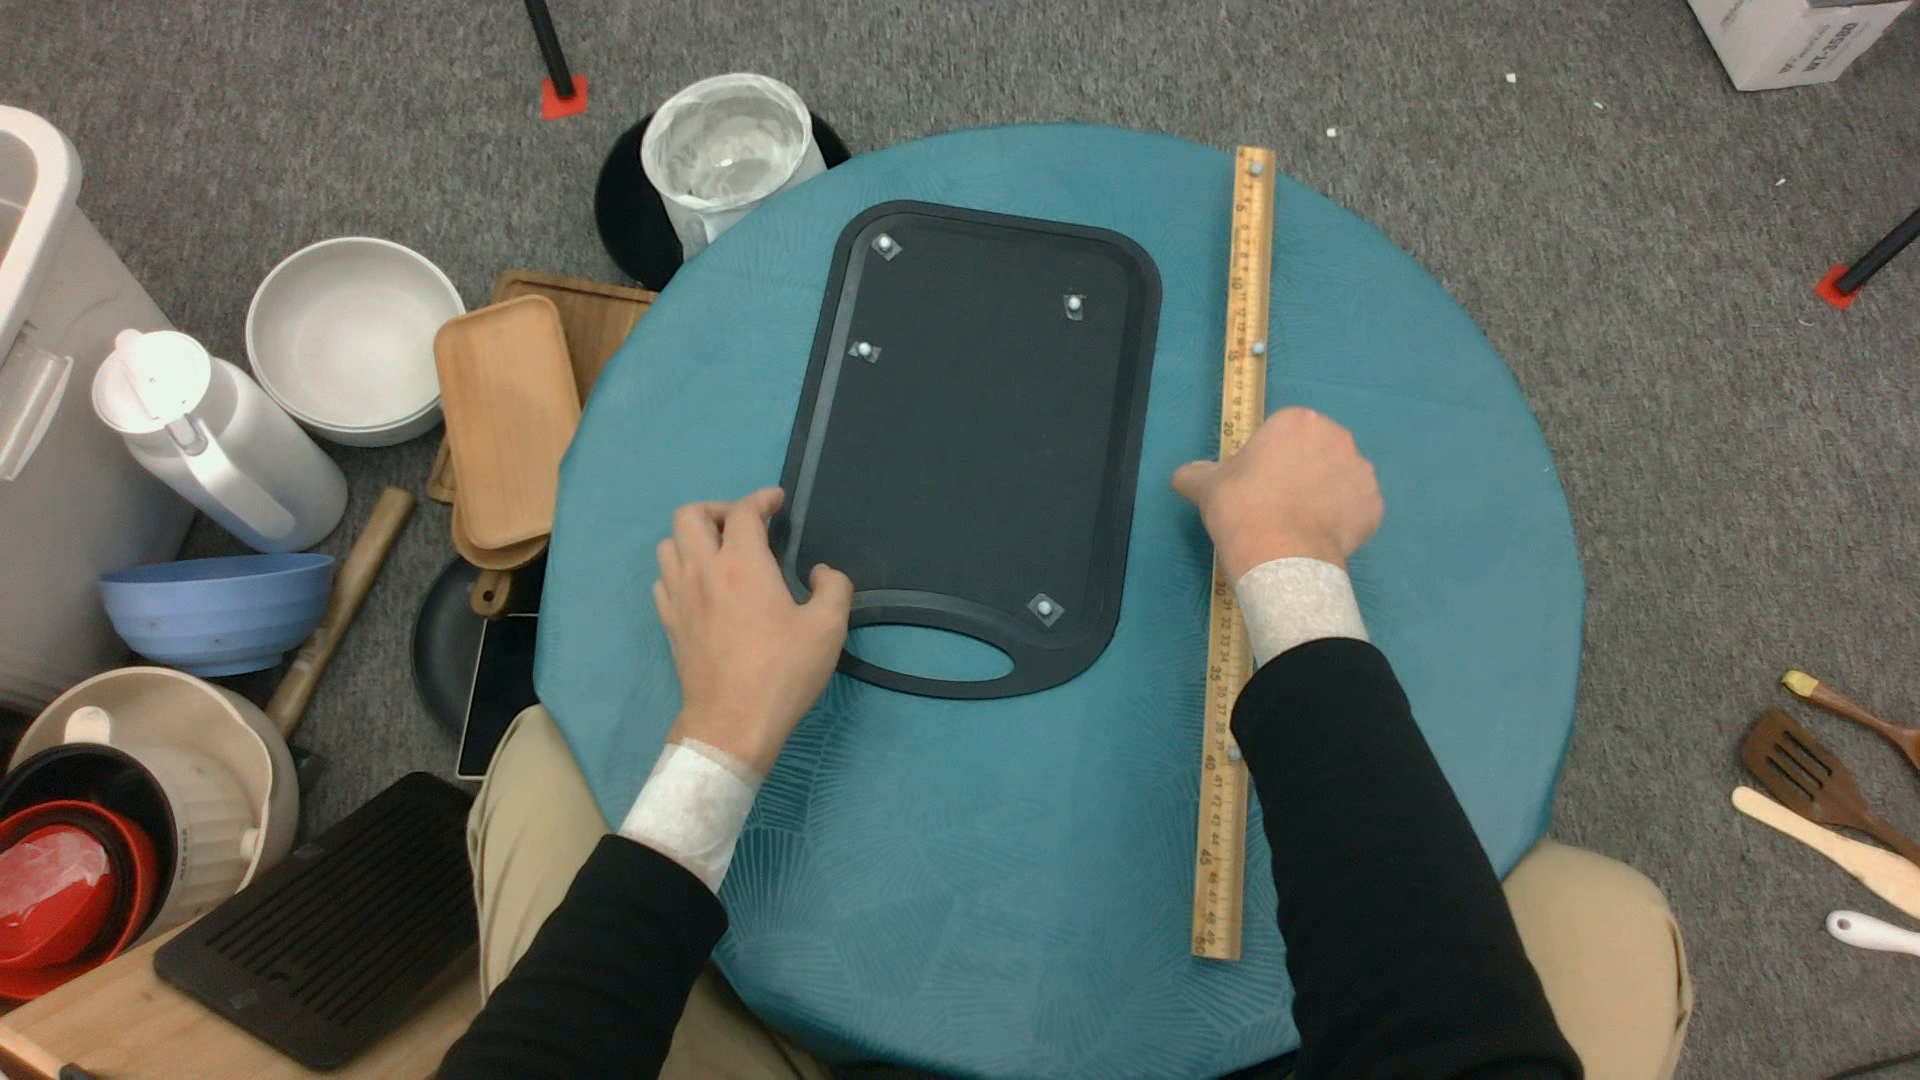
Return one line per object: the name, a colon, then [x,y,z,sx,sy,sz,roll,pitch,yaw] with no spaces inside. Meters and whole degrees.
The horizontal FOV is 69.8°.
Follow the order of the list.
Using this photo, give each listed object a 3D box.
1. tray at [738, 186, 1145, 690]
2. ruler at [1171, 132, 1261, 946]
tray: [-0.007,-0.069,0.822,0.211,0.010,0.326,10,68,2]
ruler: [0.150,-0.026,0.793,0.027,0.006,0.502,8,70,-1]
